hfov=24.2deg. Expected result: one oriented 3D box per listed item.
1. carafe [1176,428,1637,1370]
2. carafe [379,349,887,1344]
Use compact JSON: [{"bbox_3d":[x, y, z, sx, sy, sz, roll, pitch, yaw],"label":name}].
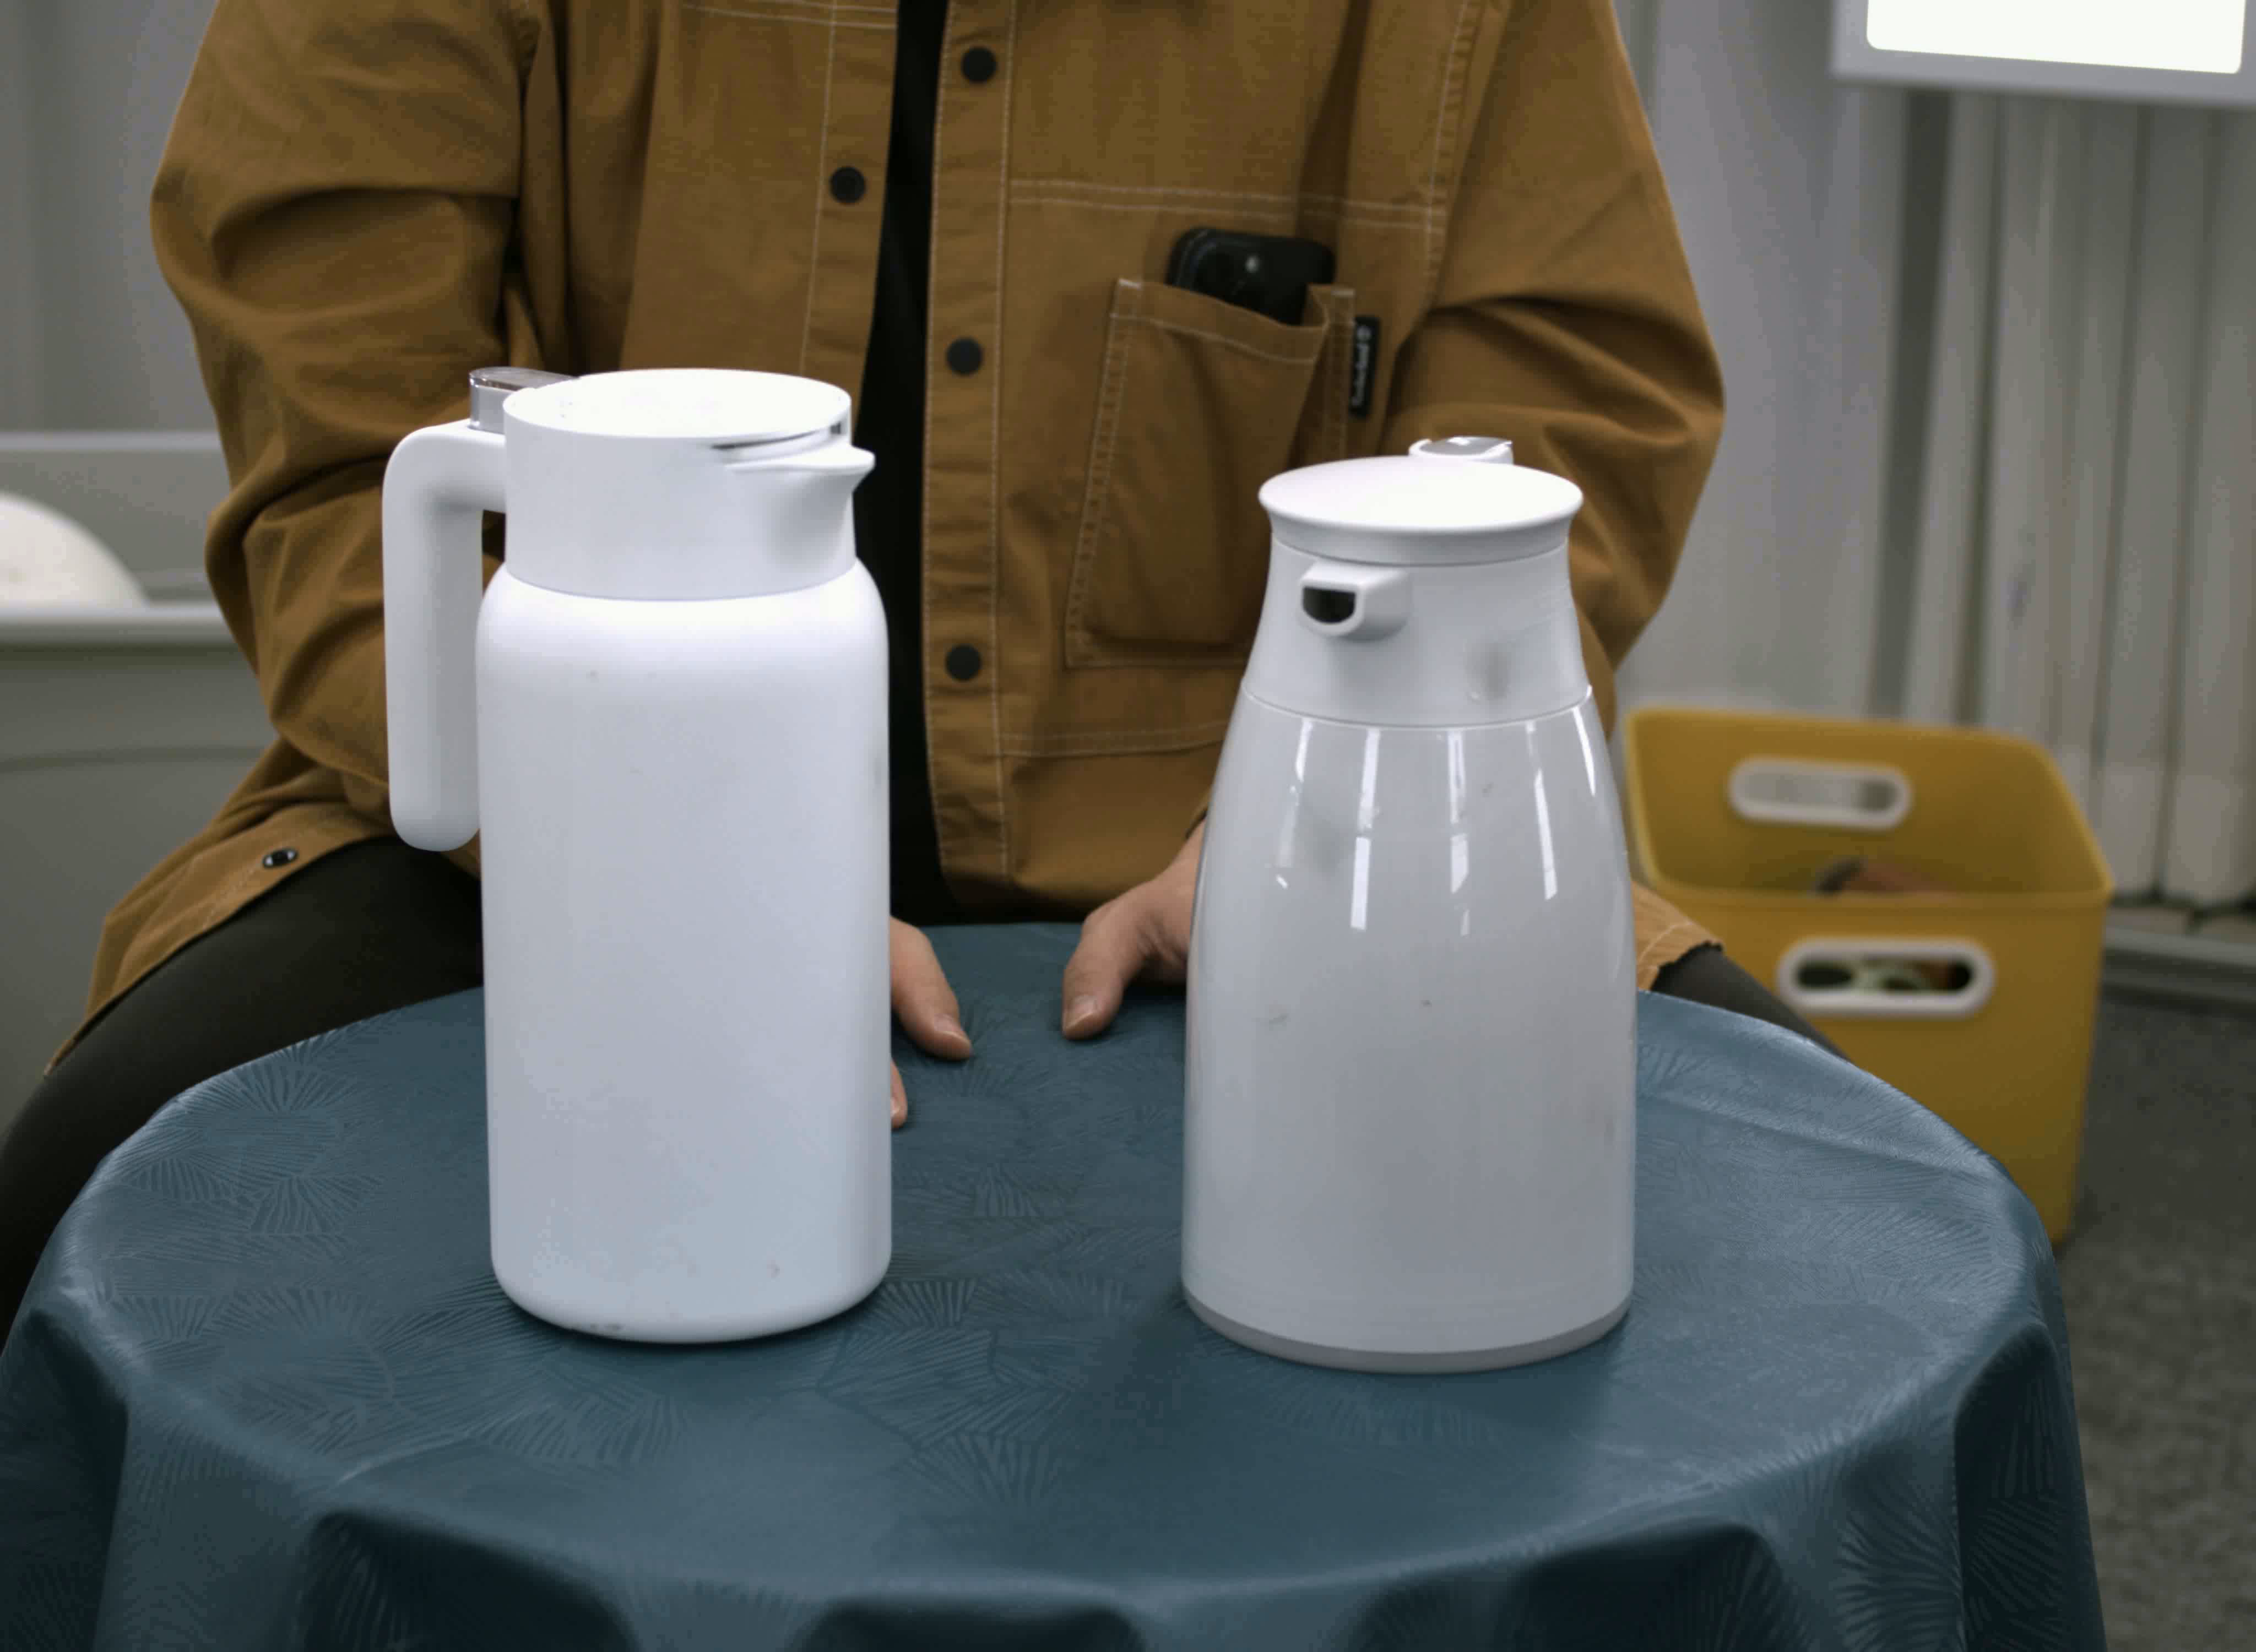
[{"bbox_3d":[0.089,0.012,1.520,0.131,0.250,0.168,8,17,24],"label":"carafe"},{"bbox_3d":[-0.142,0.003,1.509,0.170,0.271,0.124,11,21,33],"label":"carafe"}]
